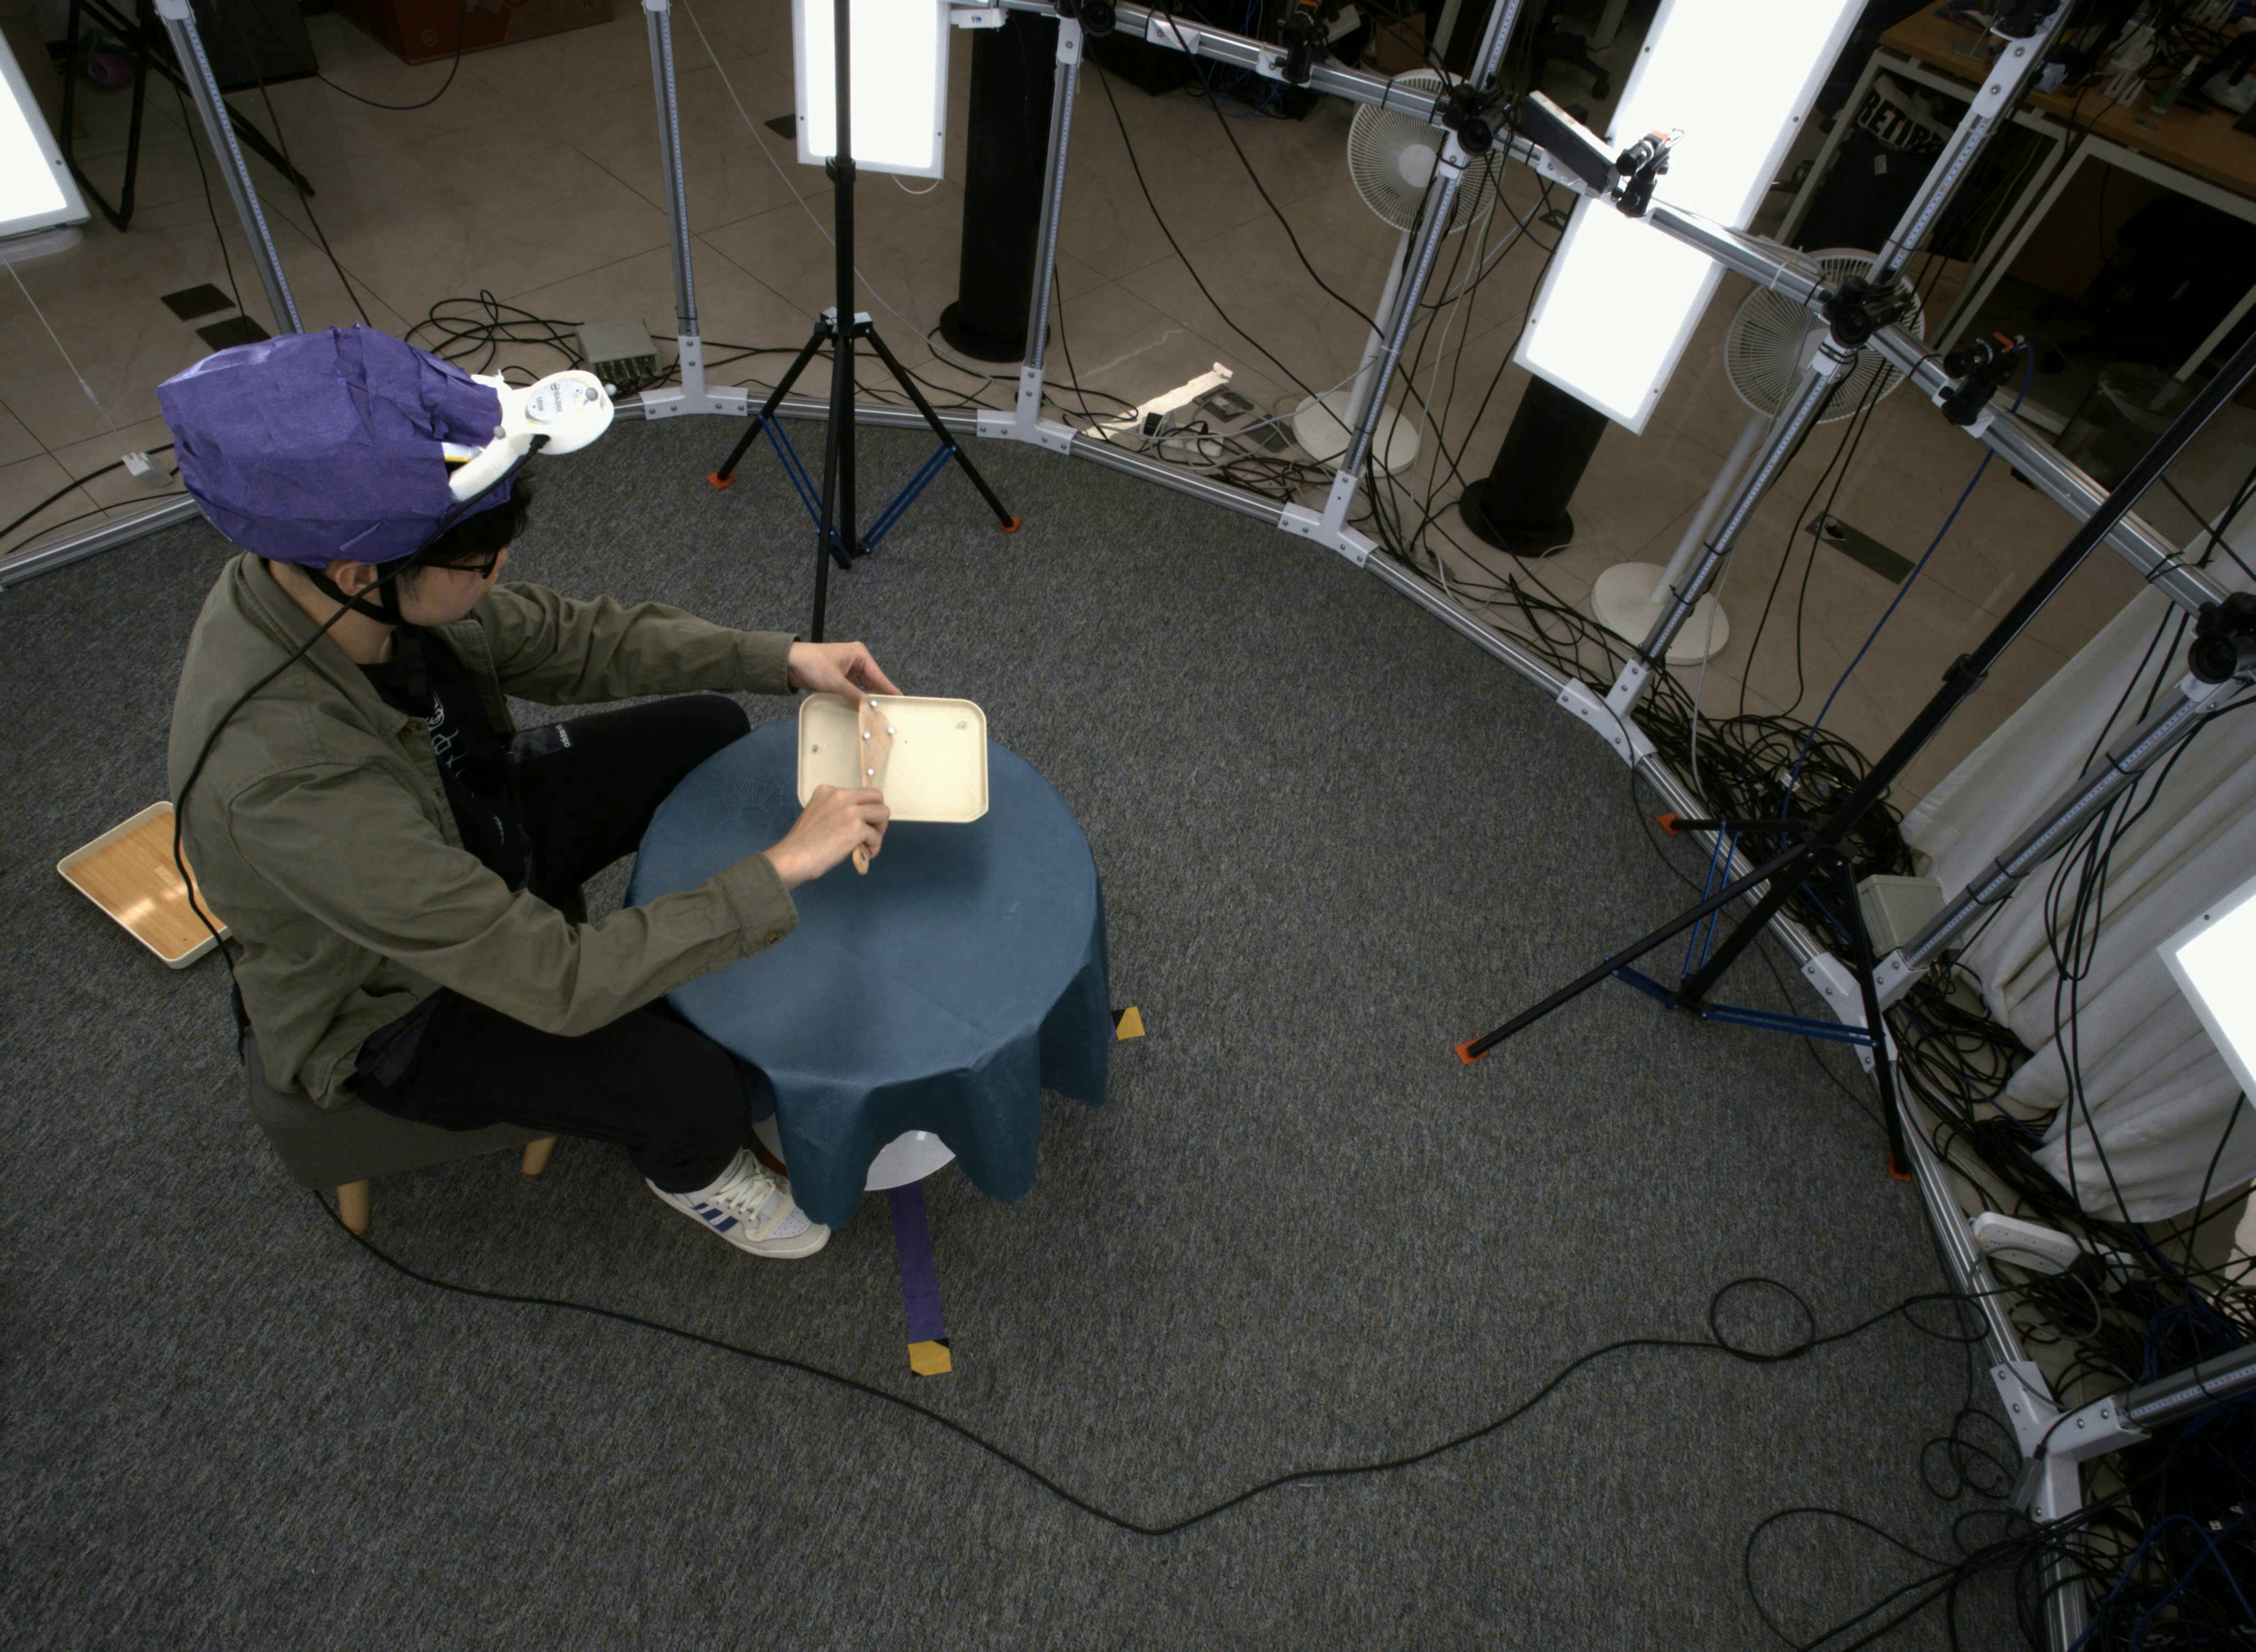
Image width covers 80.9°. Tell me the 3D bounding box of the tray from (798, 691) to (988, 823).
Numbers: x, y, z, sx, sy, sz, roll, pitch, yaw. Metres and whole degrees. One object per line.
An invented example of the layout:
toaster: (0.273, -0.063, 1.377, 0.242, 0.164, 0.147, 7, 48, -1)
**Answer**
tray: (-0.300, -0.087, 1.660, 0.241, 0.017, 0.170, 2, 73, -18)

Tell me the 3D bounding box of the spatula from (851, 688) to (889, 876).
spatula: (-0.308, -0.052, 1.524, 0.016, 0.083, 0.319, -18, 39, 6)
